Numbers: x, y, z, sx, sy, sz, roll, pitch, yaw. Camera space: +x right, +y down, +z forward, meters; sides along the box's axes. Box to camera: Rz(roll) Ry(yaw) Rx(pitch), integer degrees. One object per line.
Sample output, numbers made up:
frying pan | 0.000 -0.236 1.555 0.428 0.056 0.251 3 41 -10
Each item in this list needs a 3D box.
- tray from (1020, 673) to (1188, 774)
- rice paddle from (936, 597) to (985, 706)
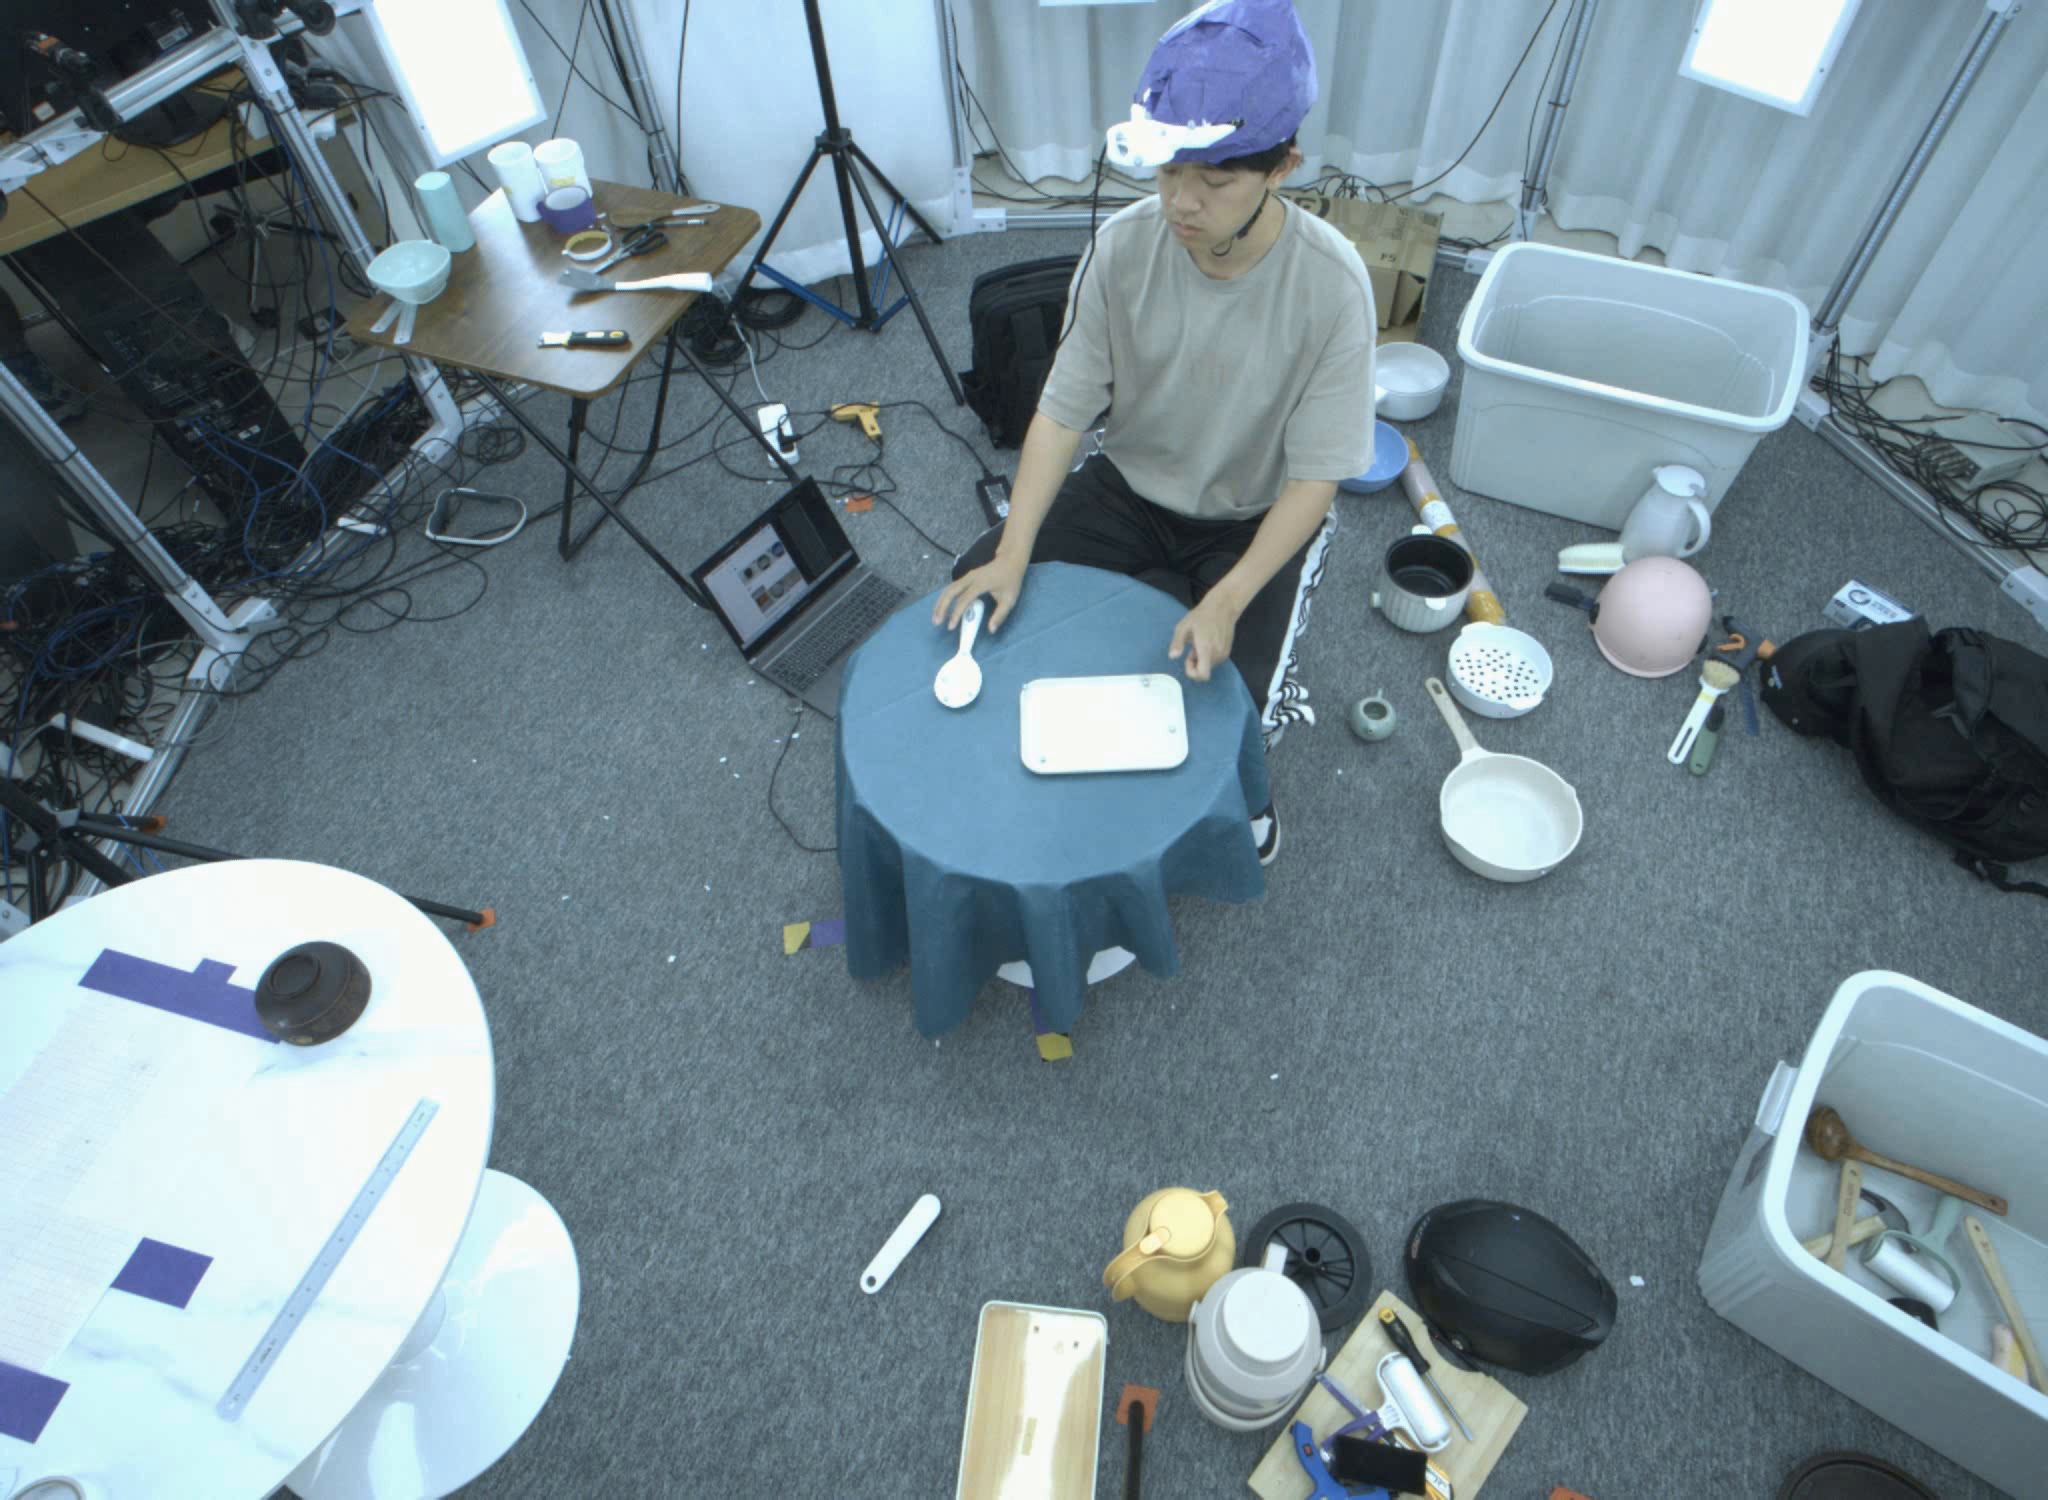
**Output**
tray | 0.114 -0.038 1.797 0.239 0.017 0.169 -2 56 1
rice paddle | -0.089 -0.150 1.875 0.068 0.030 0.204 4 55 7
